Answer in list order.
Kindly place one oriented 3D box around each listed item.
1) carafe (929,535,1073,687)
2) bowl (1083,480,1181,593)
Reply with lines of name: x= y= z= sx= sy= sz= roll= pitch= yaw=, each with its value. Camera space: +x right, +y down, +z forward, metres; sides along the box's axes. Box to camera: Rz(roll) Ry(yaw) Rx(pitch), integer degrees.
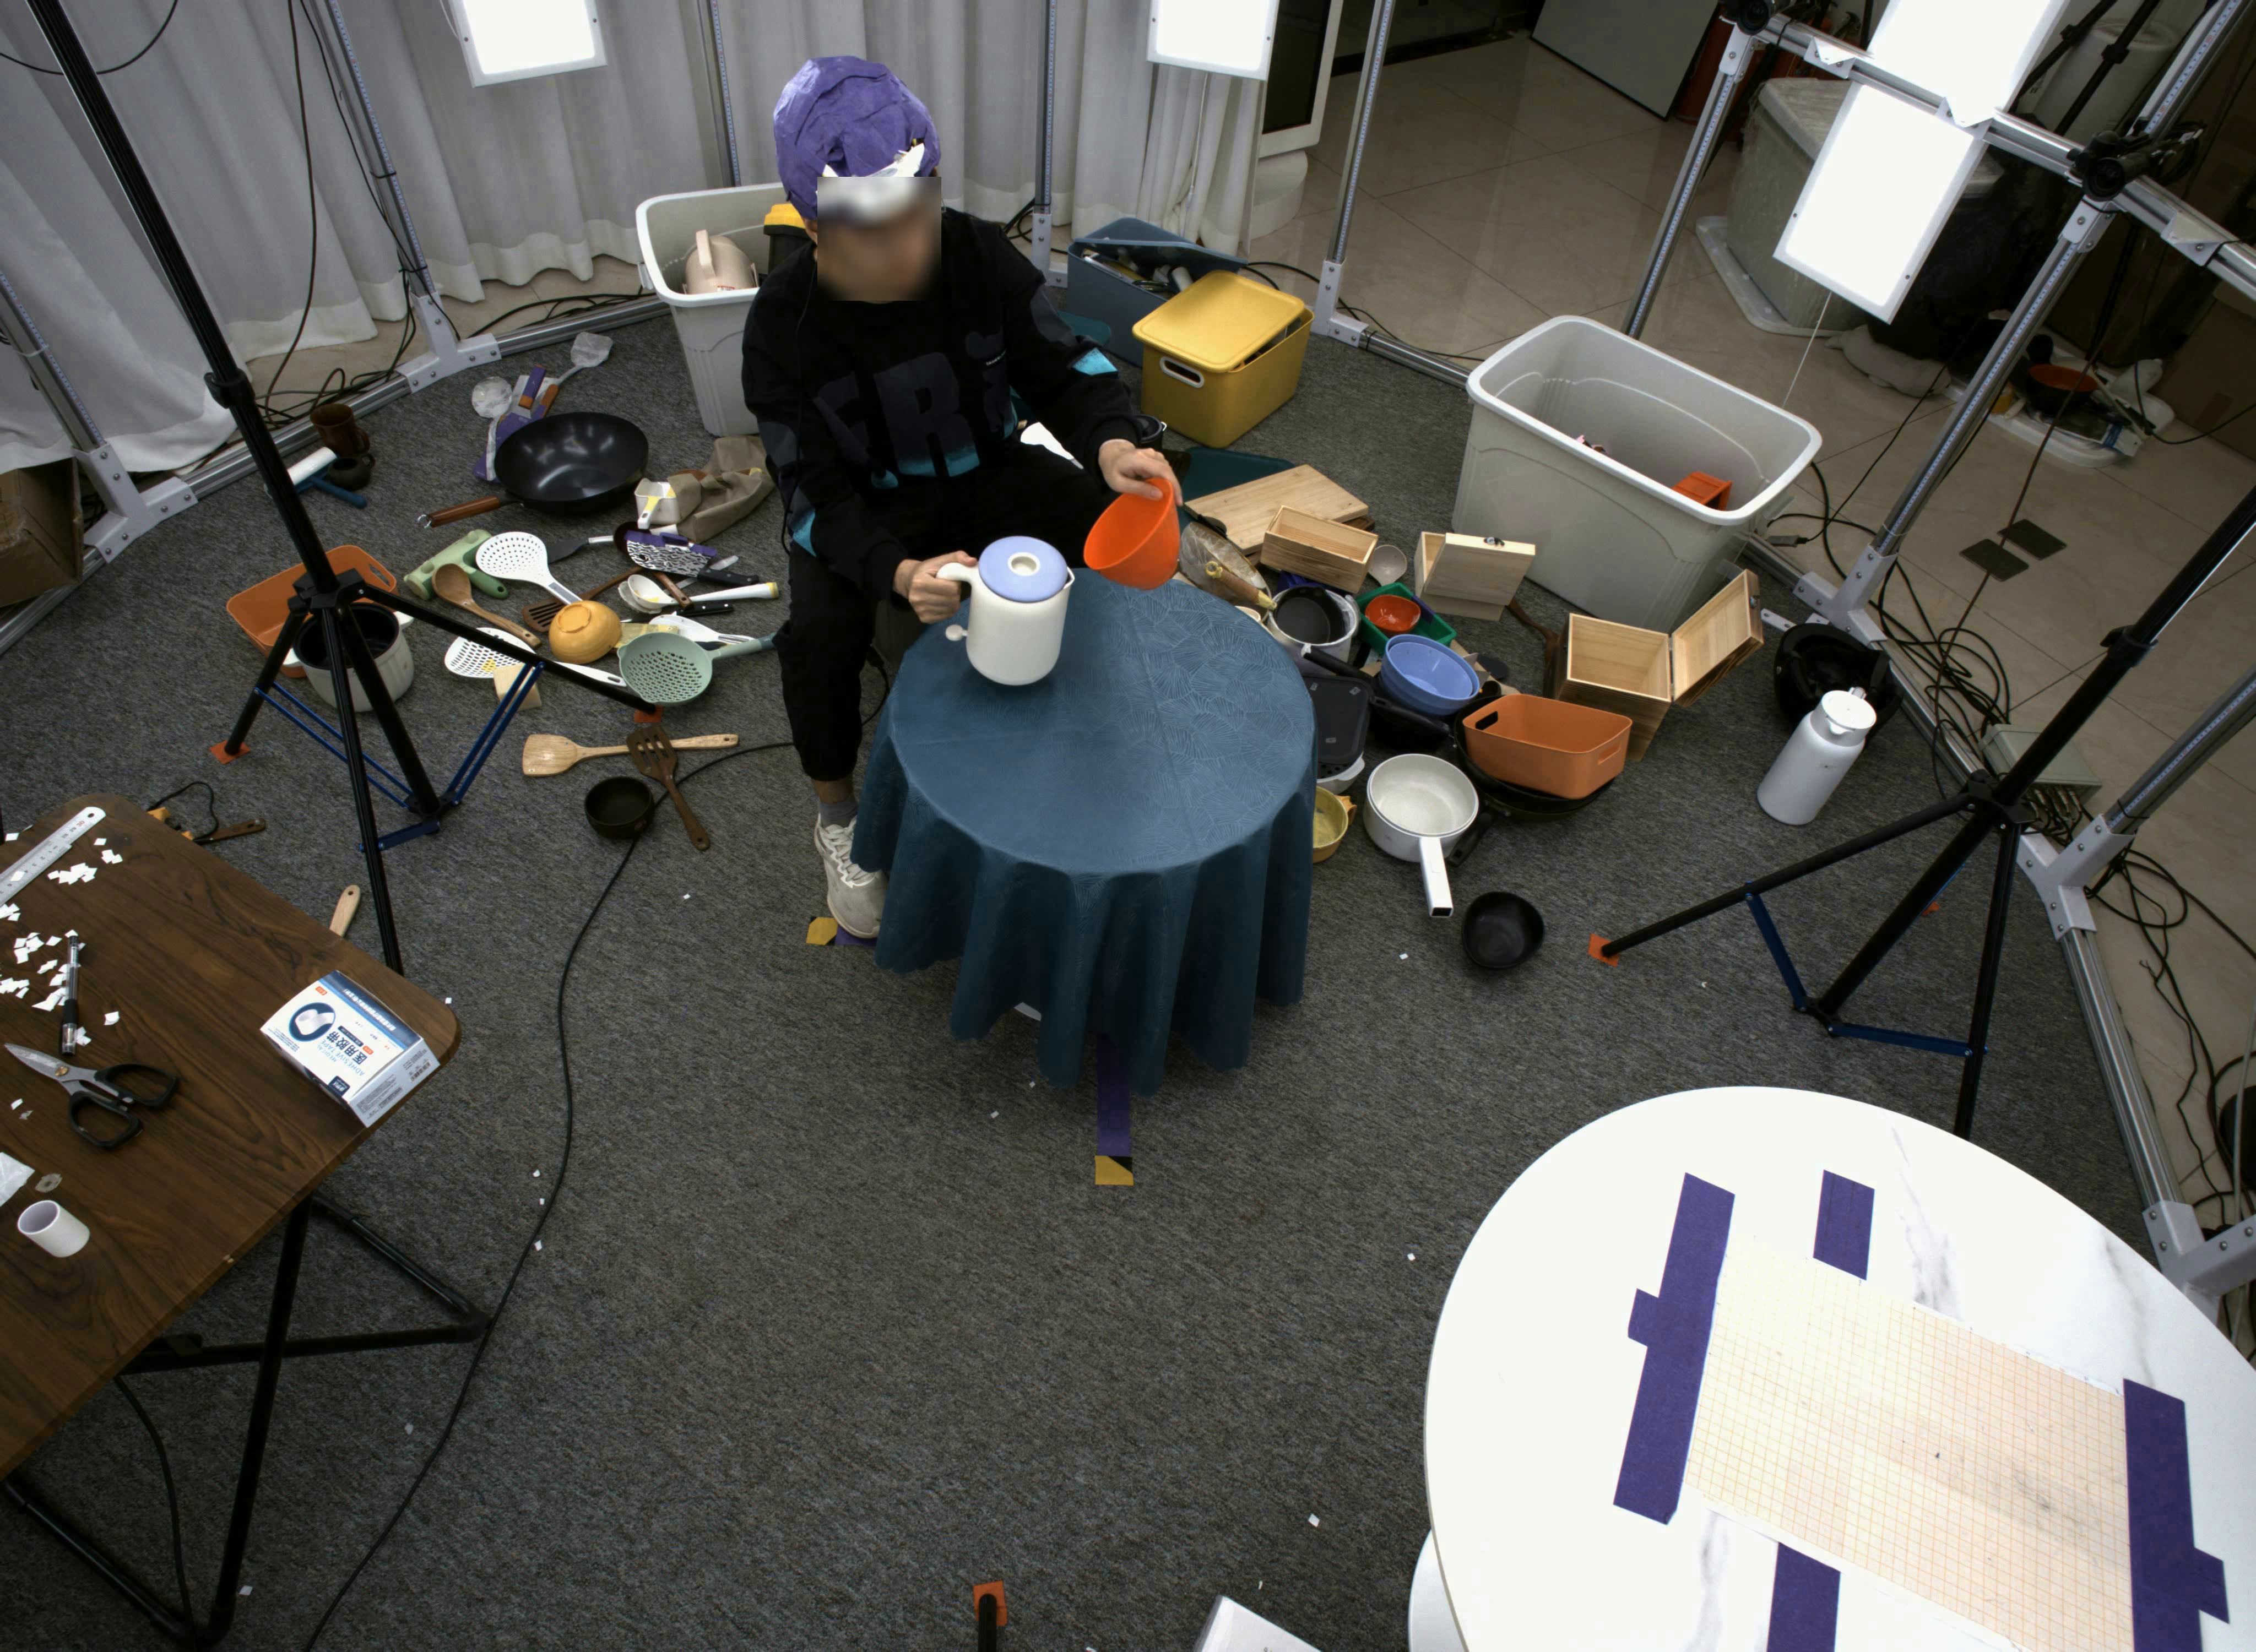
carafe: x=-0.174 y=-0.294 z=1.750 sx=0.191 sy=0.178 sz=0.135 roll=6 pitch=53 yaw=-2
bowl: x=0.020 y=-0.362 z=1.666 sx=0.147 sy=0.102 sz=0.152 roll=-21 pitch=45 yaw=22
